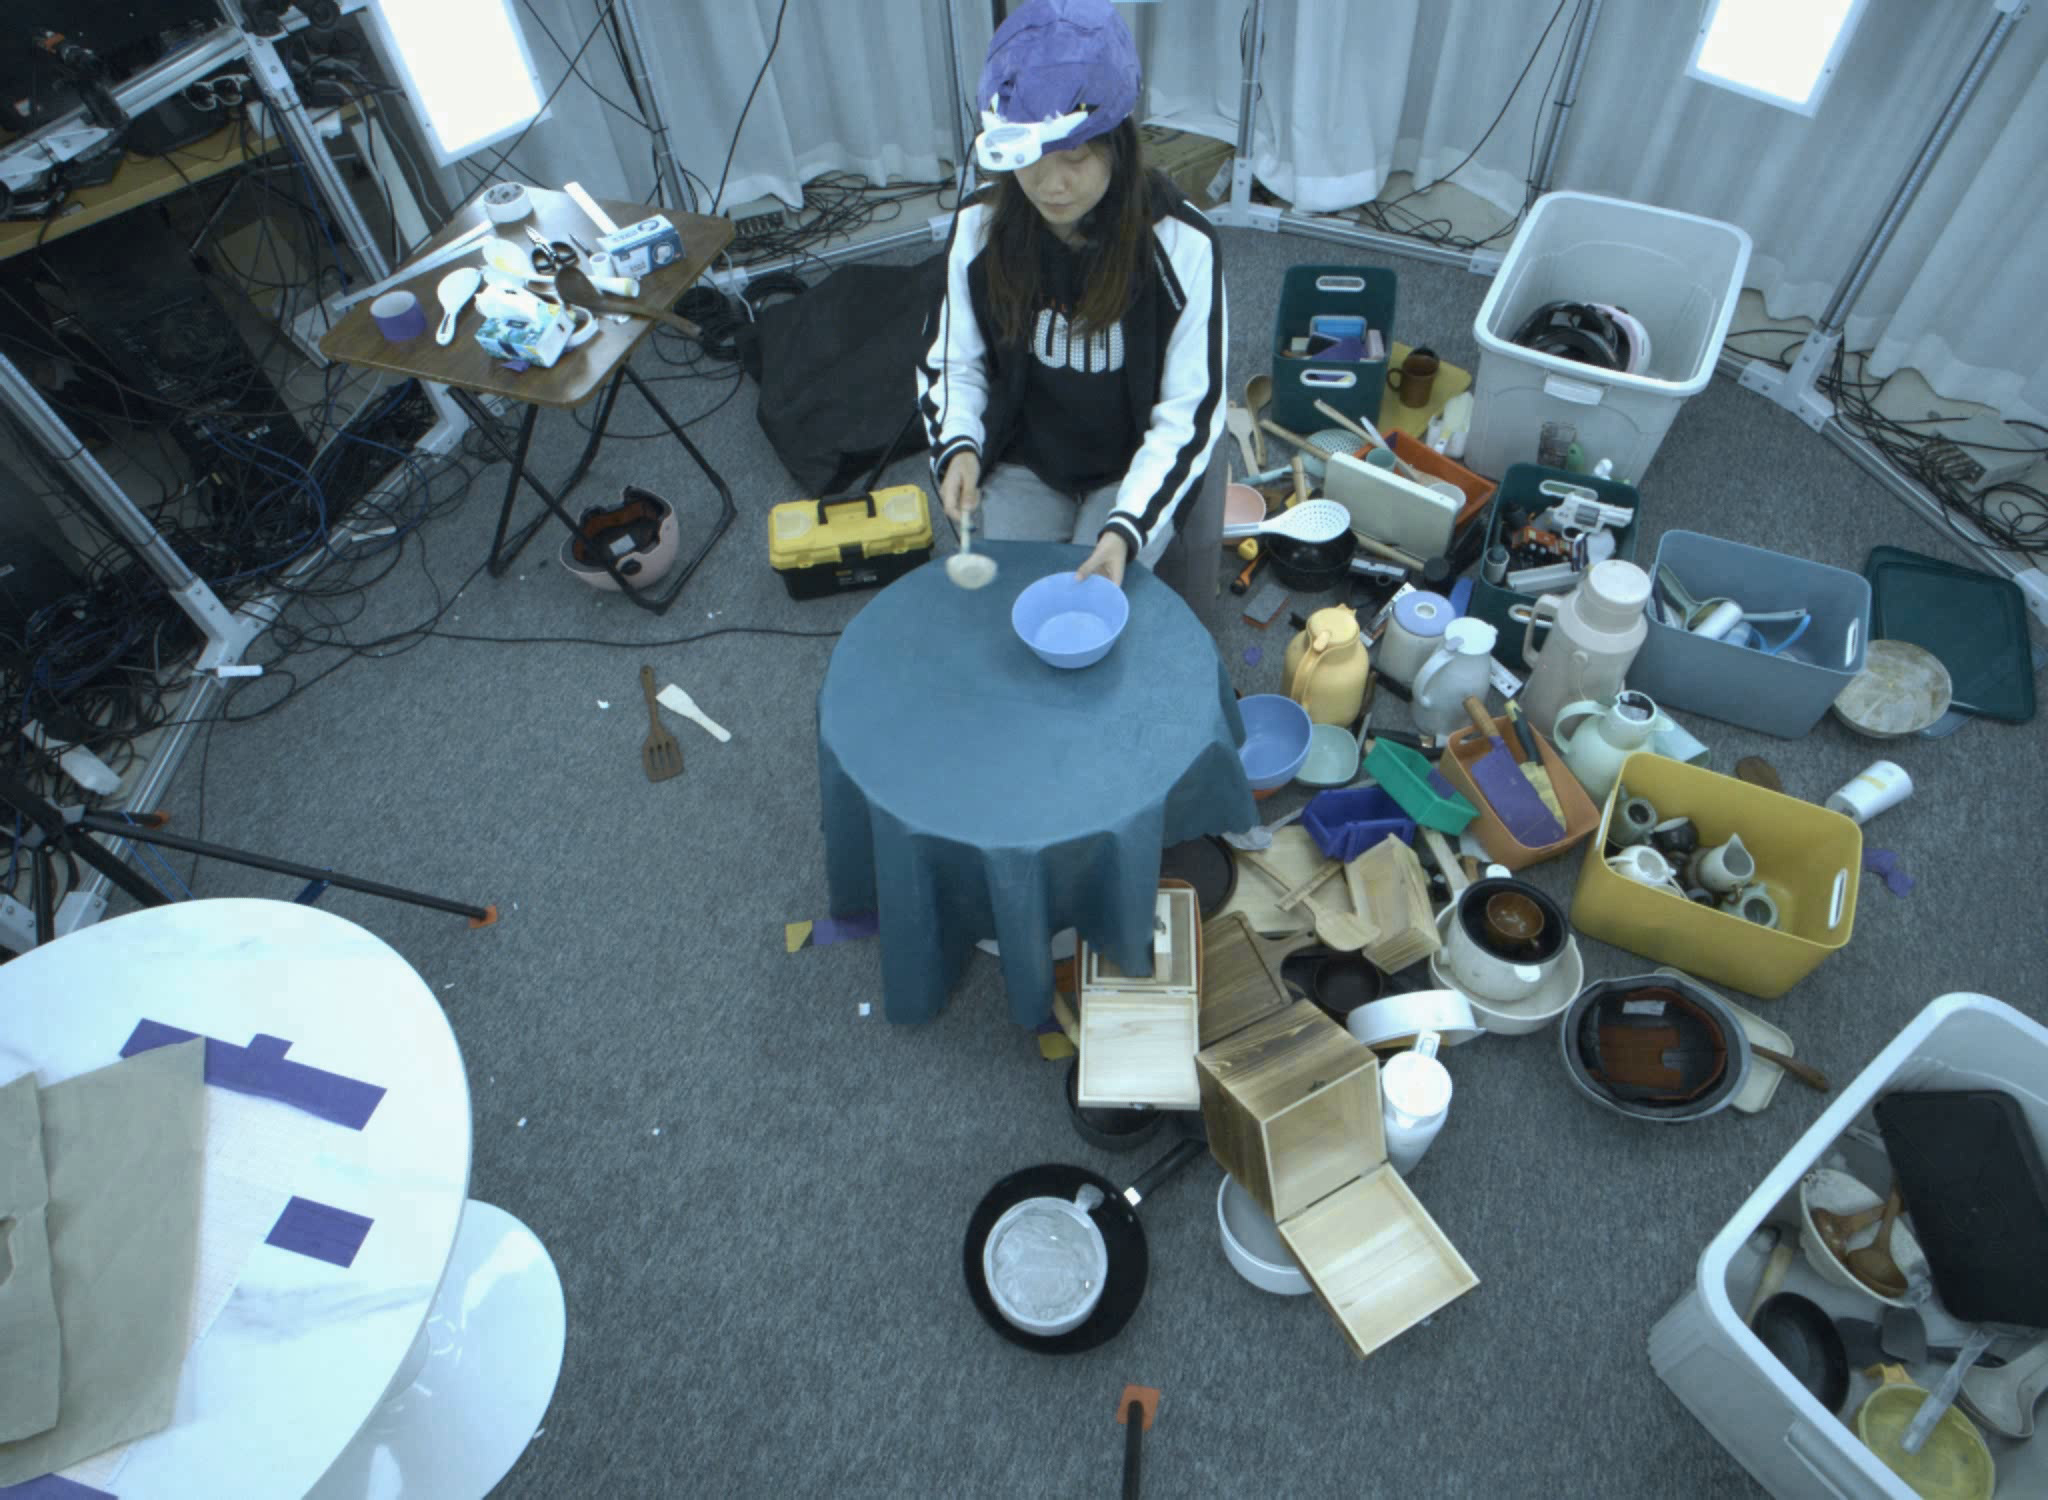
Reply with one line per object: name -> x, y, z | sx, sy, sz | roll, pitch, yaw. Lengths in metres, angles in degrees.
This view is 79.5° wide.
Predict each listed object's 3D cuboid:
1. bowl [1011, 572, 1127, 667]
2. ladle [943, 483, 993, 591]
bowl -> 0.070, -0.190, 1.872 | 0.176, 0.071, 0.174 | -2, 51, 4
ladle -> -0.088, -0.340, 1.819 | 0.073, 0.072, 0.251 | 9, 52, -19
